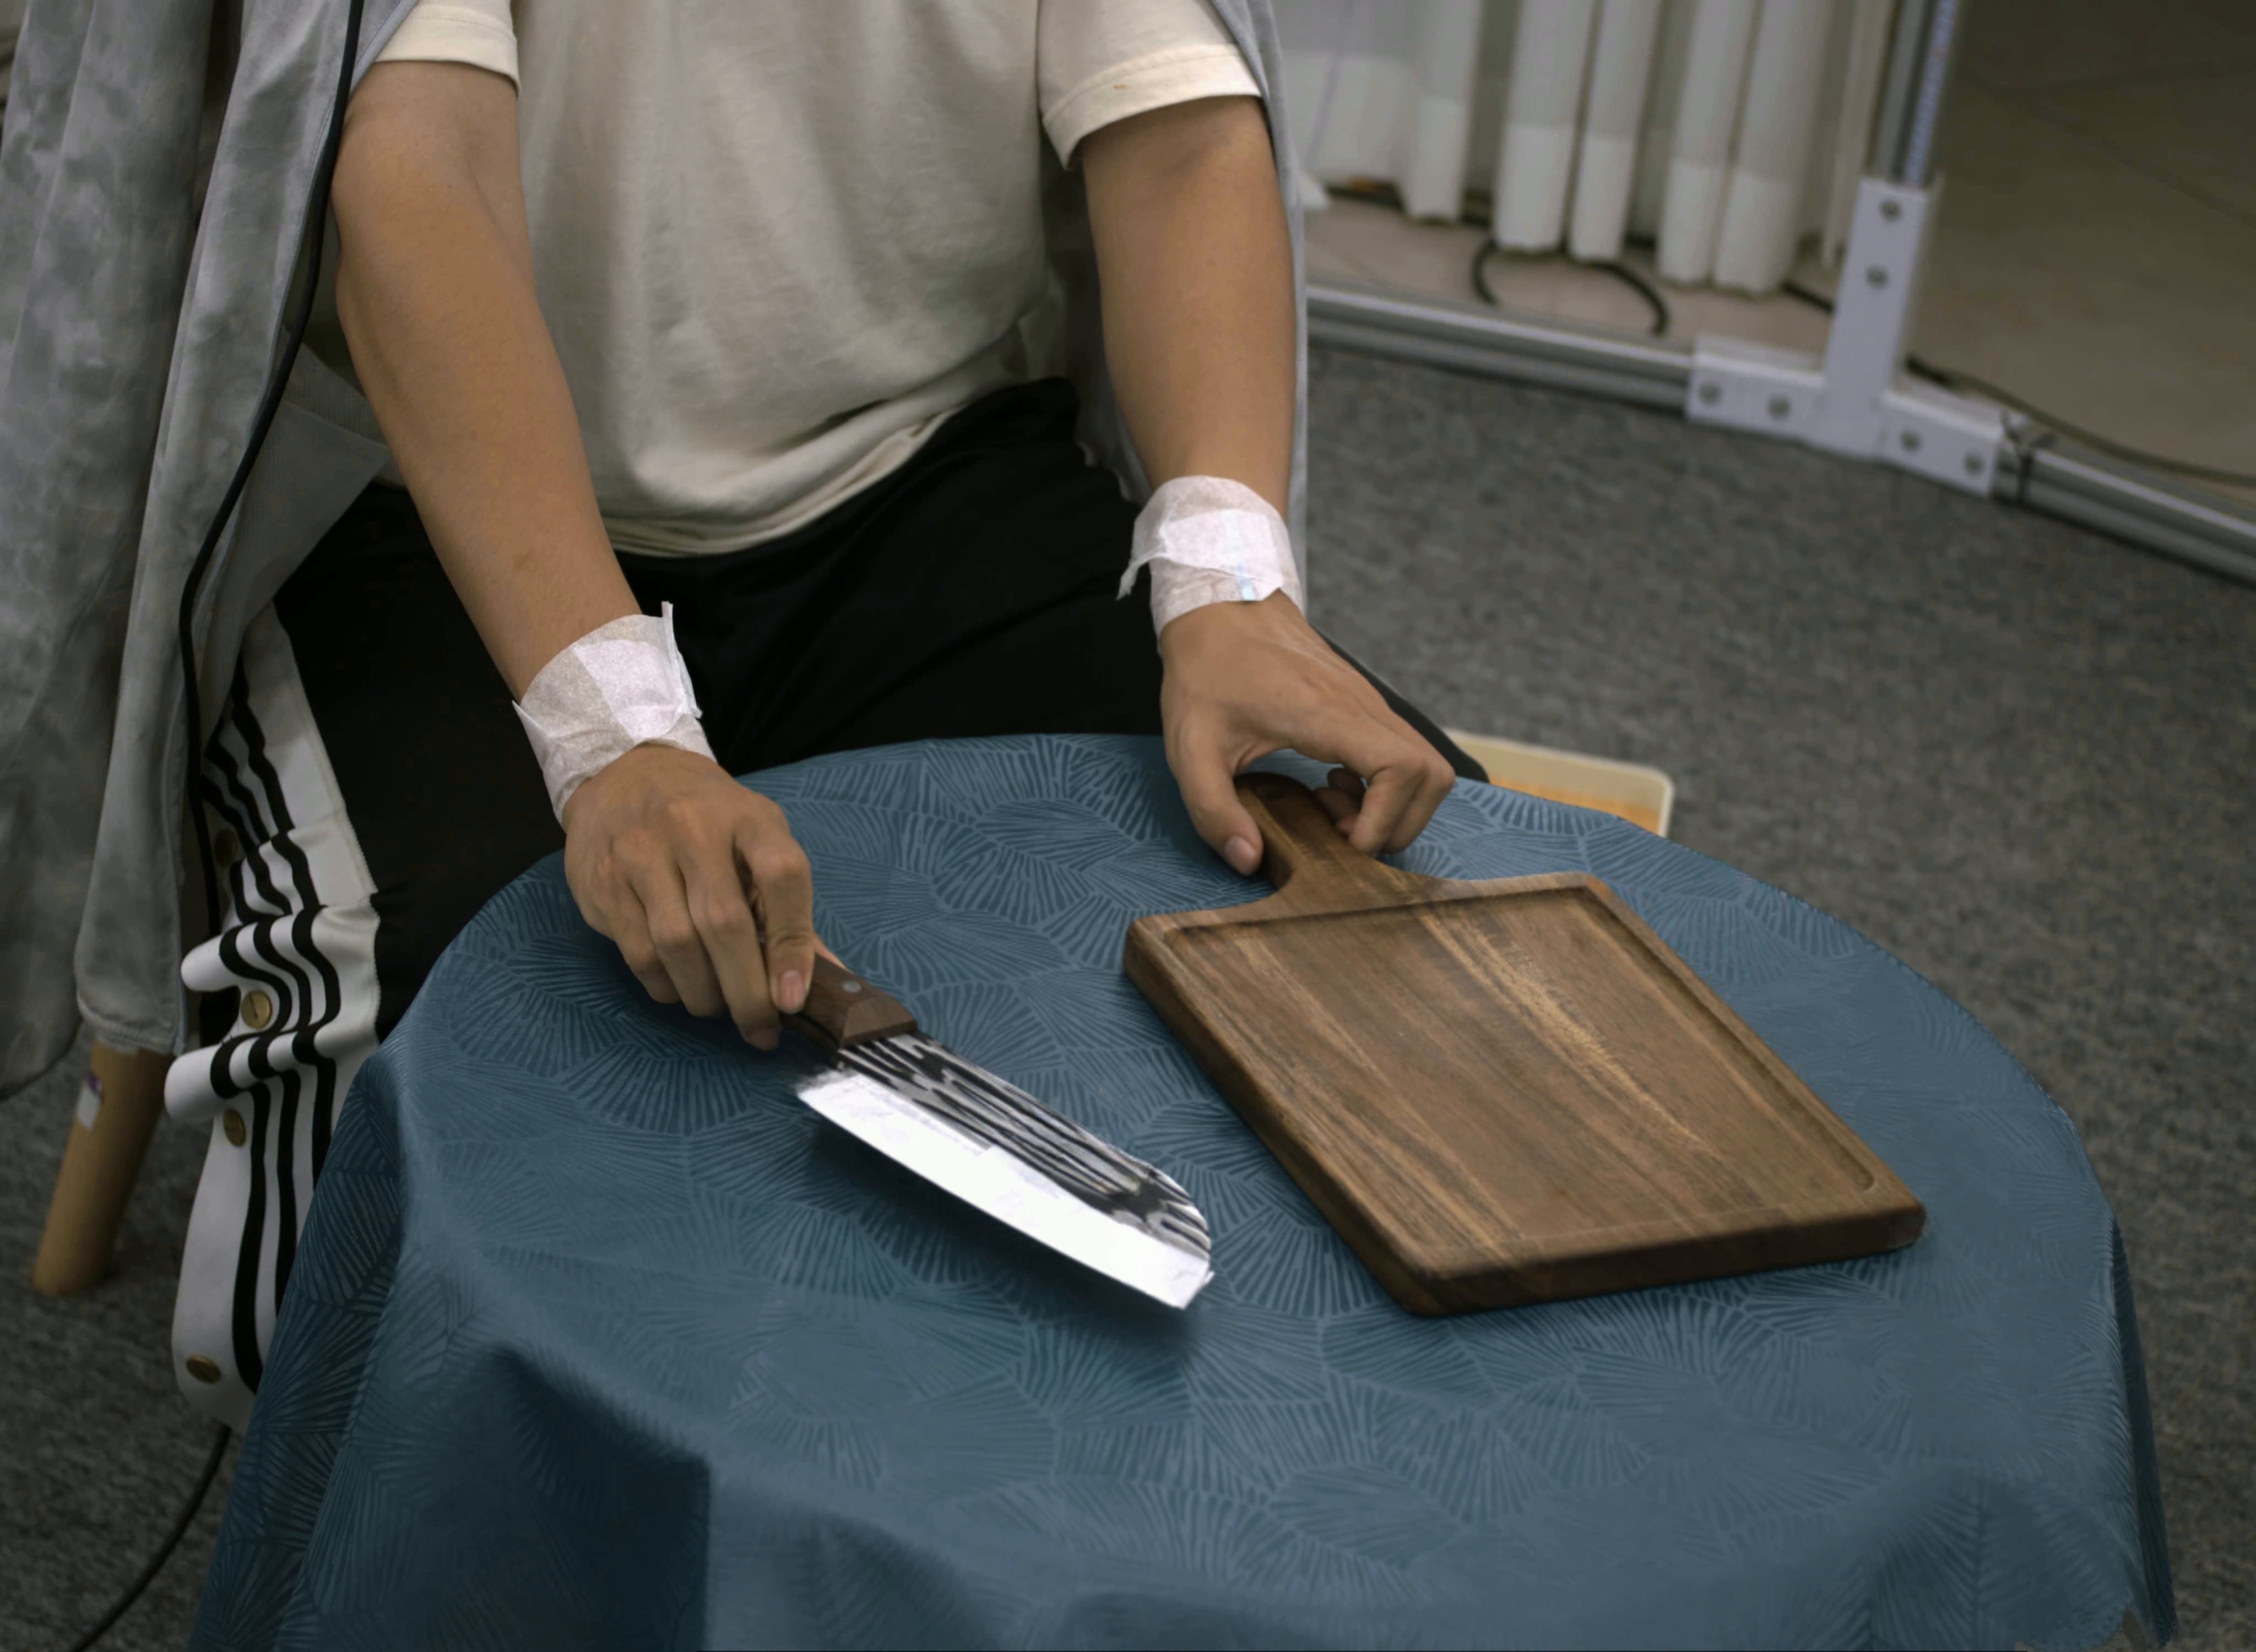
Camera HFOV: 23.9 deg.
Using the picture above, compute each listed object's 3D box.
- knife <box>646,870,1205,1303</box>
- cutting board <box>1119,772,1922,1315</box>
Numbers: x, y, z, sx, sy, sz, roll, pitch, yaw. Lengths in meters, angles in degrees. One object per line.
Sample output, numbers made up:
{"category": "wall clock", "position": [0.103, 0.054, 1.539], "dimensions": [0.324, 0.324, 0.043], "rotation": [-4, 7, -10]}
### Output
{"category": "knife", "position": [-0.077, 0.088, 1.805], "dimensions": [0.302, 0.024, 0.068], "rotation": [29, 33, 36]}
{"category": "cutting board", "position": [0.115, 0.066, 1.920], "dimensions": [0.200, 0.023, 0.355], "rotation": [-6, 29, -24]}
